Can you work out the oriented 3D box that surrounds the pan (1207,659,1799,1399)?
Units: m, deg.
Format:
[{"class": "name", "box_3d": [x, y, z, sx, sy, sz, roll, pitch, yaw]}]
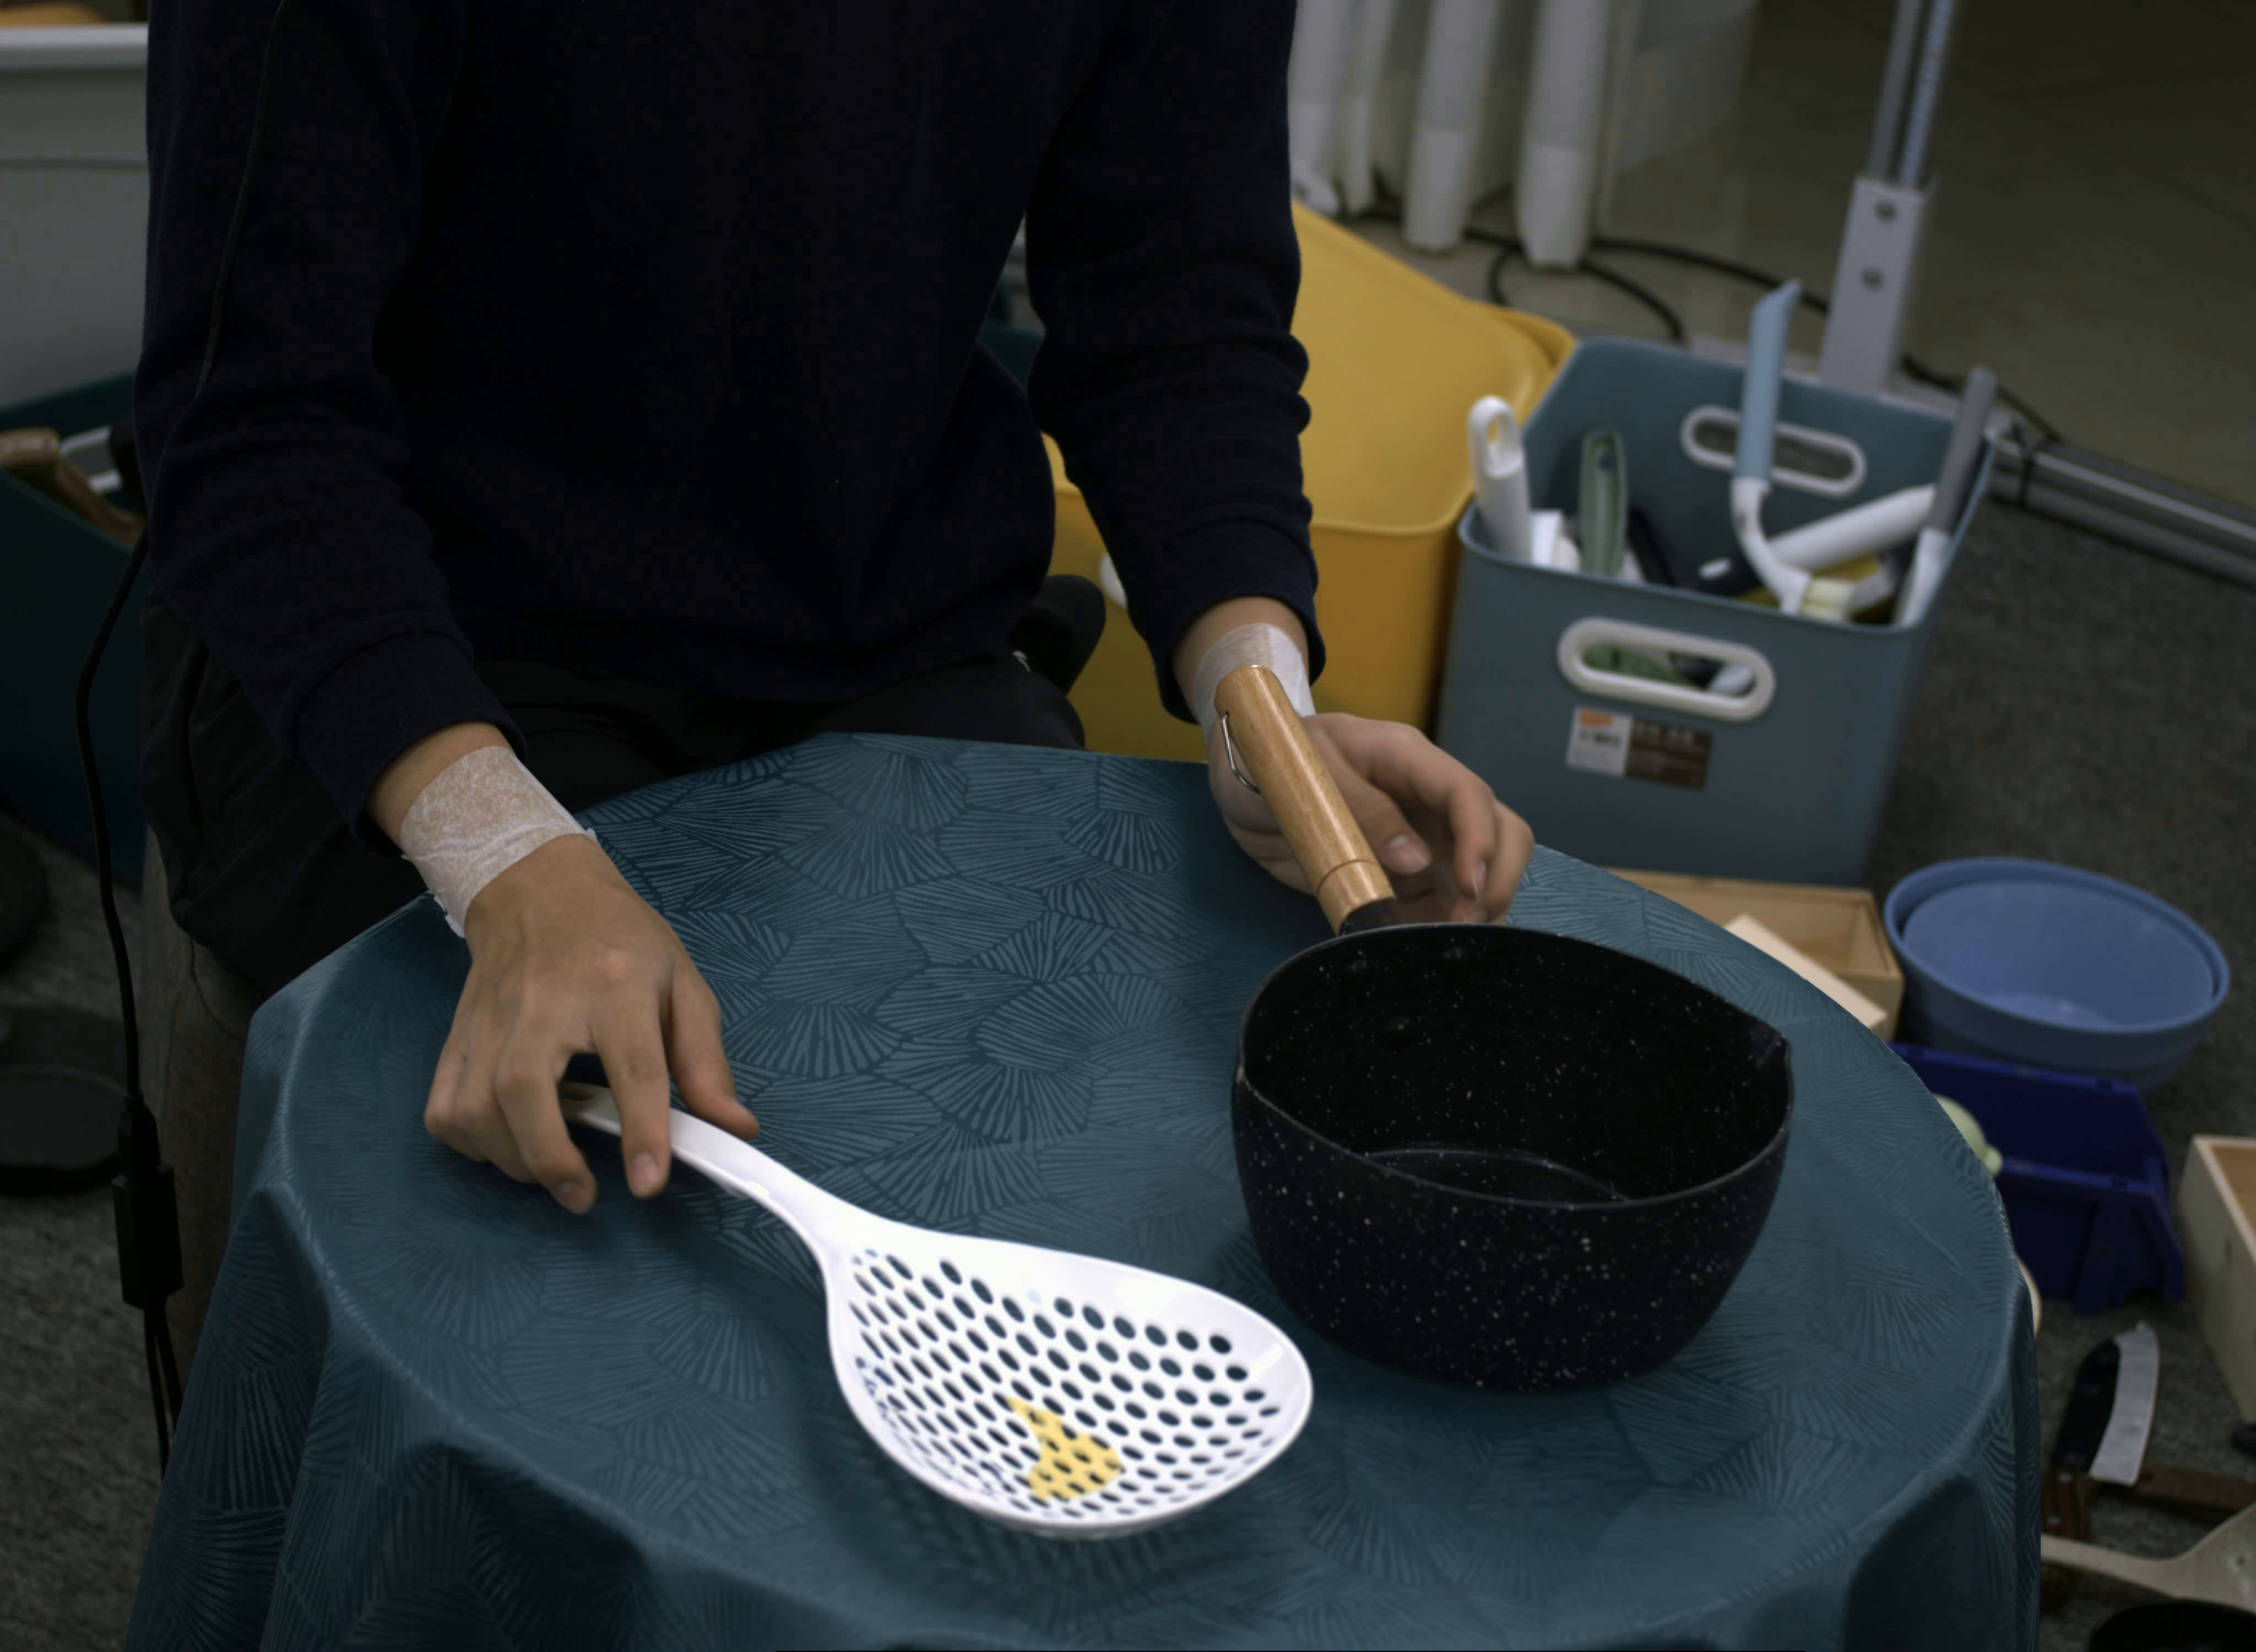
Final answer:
[{"class": "pan", "box_3d": [0.095, 0.066, 1.819, 0.206, 0.108, 0.346, -6, 31, -21]}]

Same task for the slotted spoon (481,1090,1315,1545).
[{"class": "slotted spoon", "box_3d": [-0.089, 0.142, 1.698, 0.136, 0.050, 0.350, -26, 42, -36]}]
